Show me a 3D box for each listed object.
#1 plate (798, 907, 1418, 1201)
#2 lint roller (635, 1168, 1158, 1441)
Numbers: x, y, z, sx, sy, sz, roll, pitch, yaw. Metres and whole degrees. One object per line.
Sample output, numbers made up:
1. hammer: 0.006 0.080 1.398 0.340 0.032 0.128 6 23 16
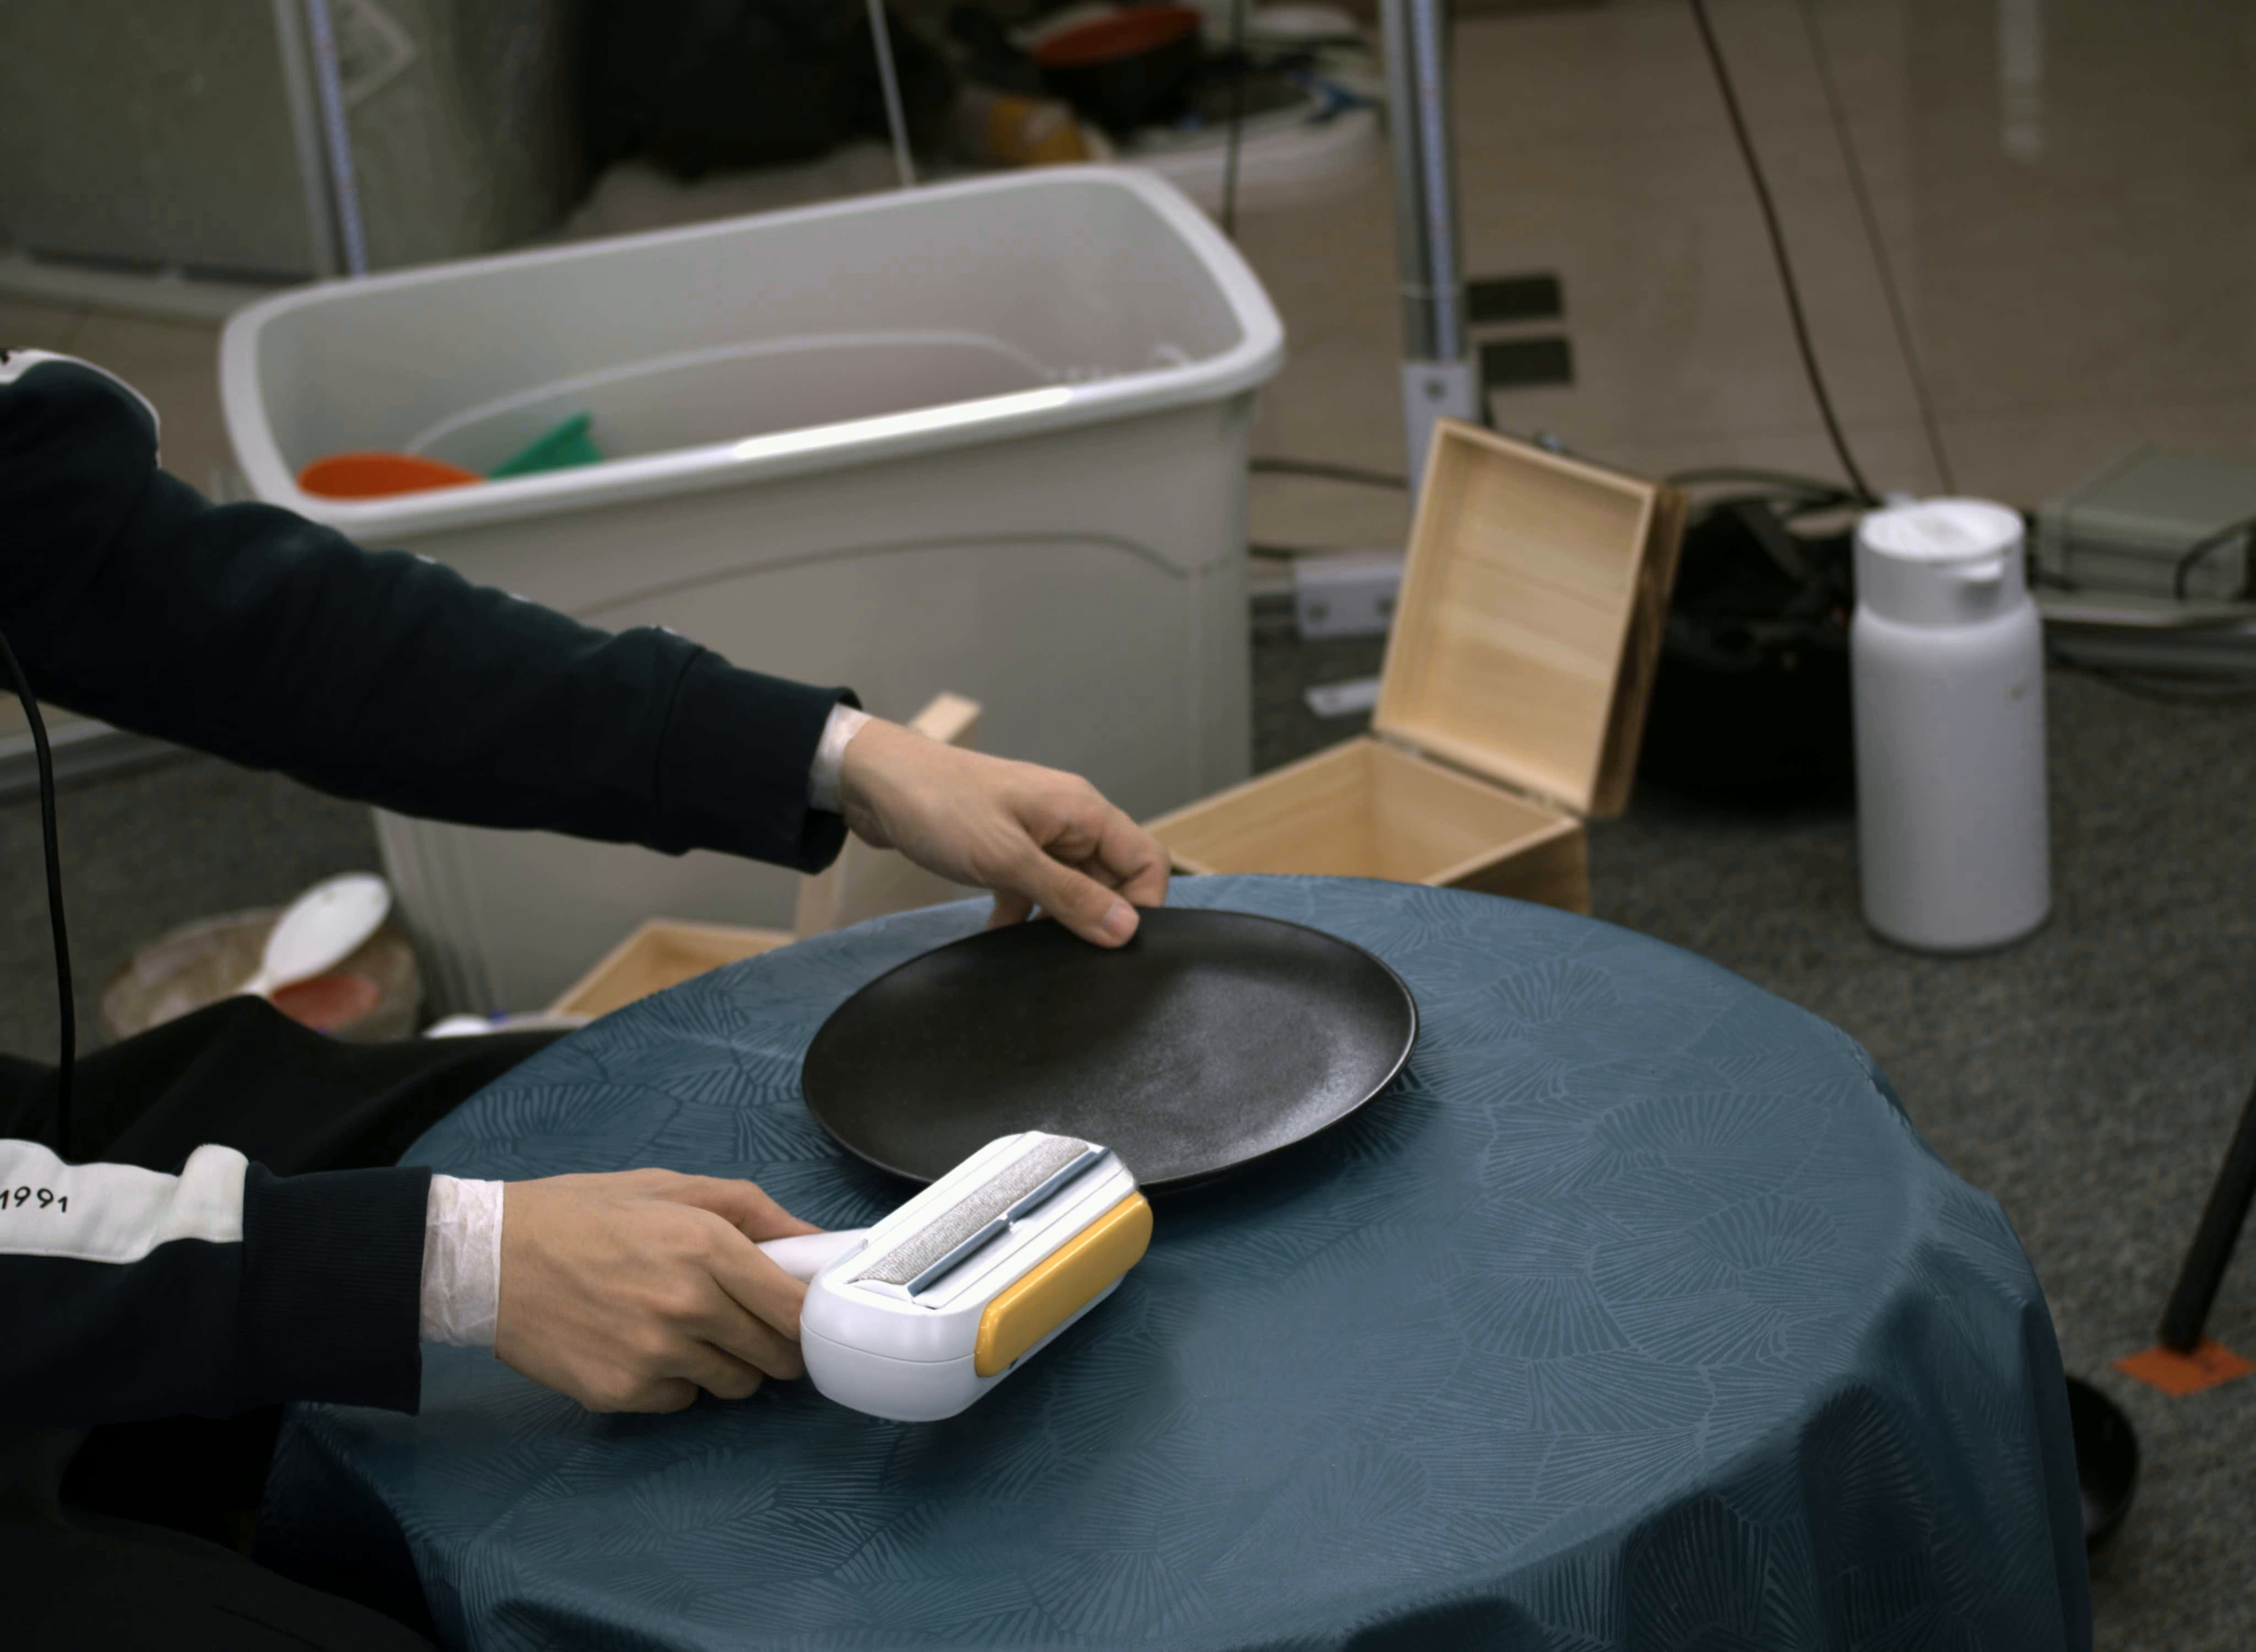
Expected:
1. plate: -0.007 0.094 2.215 0.244 0.024 0.241 -5 25 3
2. lint roller: -0.102 0.180 2.043 0.192 0.075 0.191 -8 13 32
